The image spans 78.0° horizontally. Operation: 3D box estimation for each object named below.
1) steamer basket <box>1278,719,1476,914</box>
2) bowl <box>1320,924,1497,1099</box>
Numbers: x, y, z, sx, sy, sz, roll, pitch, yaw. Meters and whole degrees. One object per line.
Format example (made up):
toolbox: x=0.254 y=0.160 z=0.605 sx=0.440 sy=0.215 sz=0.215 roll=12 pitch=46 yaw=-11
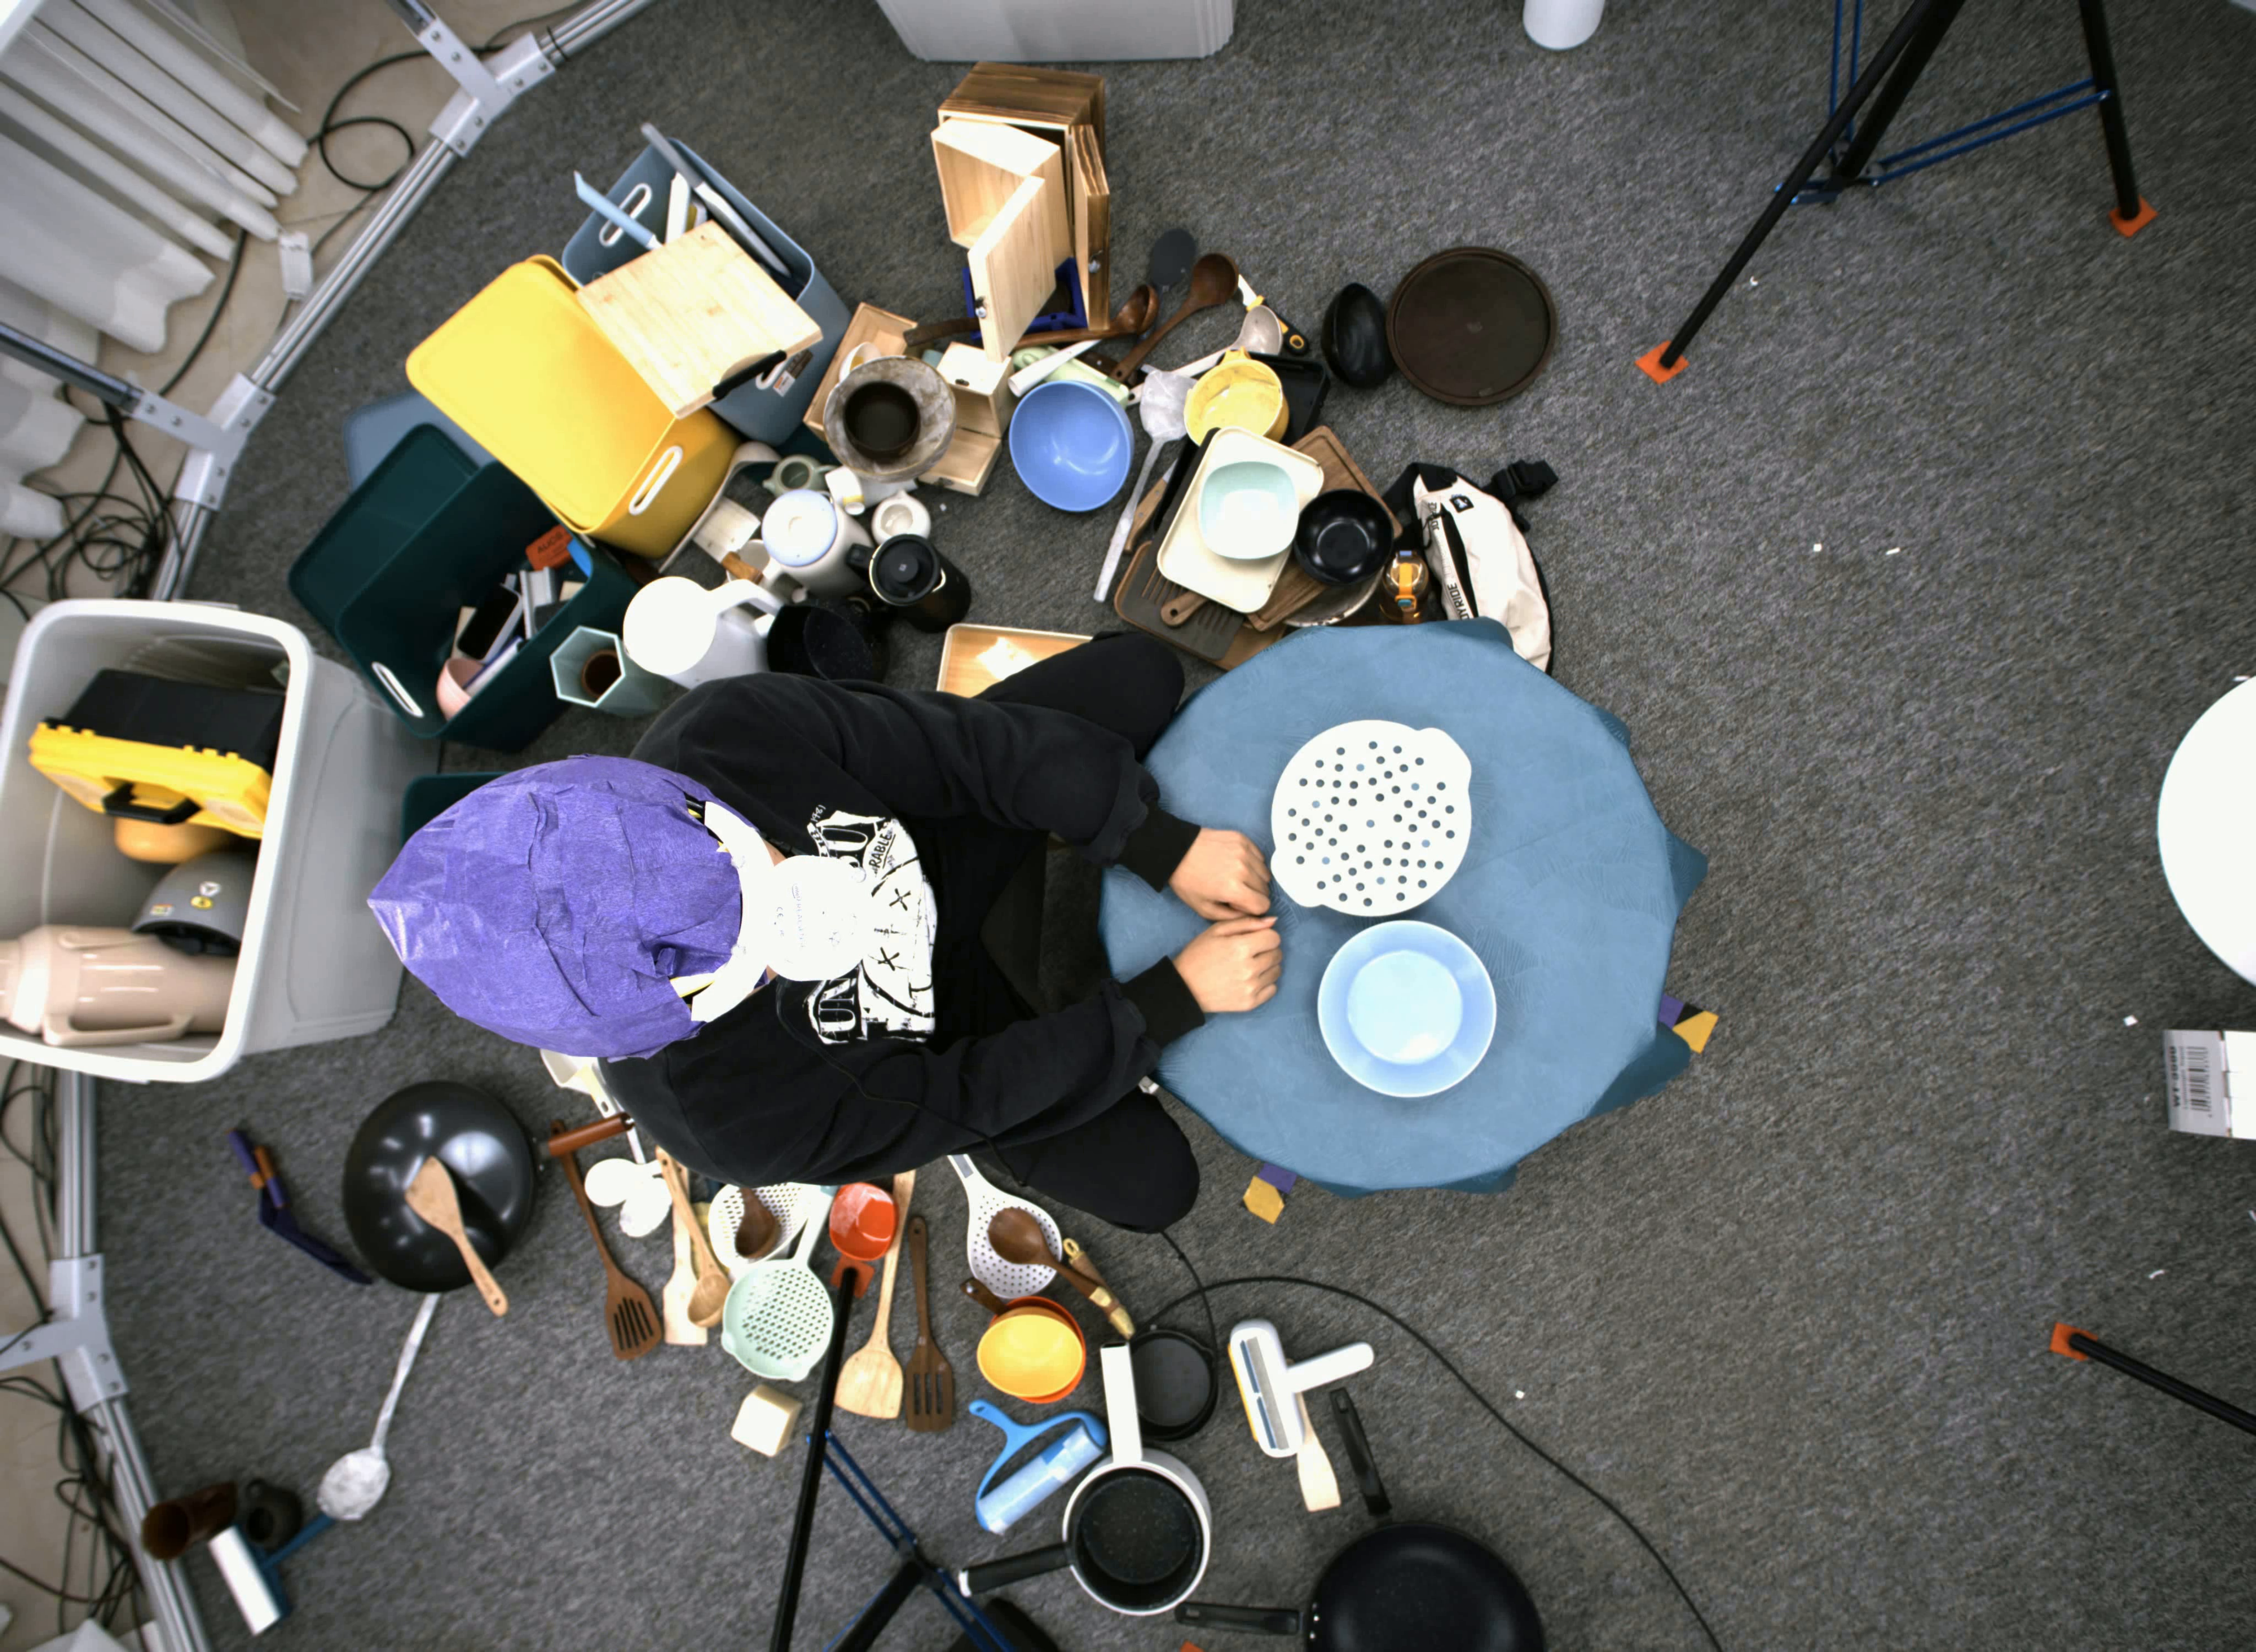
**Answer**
steamer basket: x=0.258 y=-0.008 z=1.438 sx=0.231 sy=0.069 sz=0.201 roll=-40 pitch=80 yaw=3
bowl: x=0.286 y=0.188 z=1.418 sx=0.177 sy=0.070 sz=0.175 roll=-1 pitch=86 yaw=9
